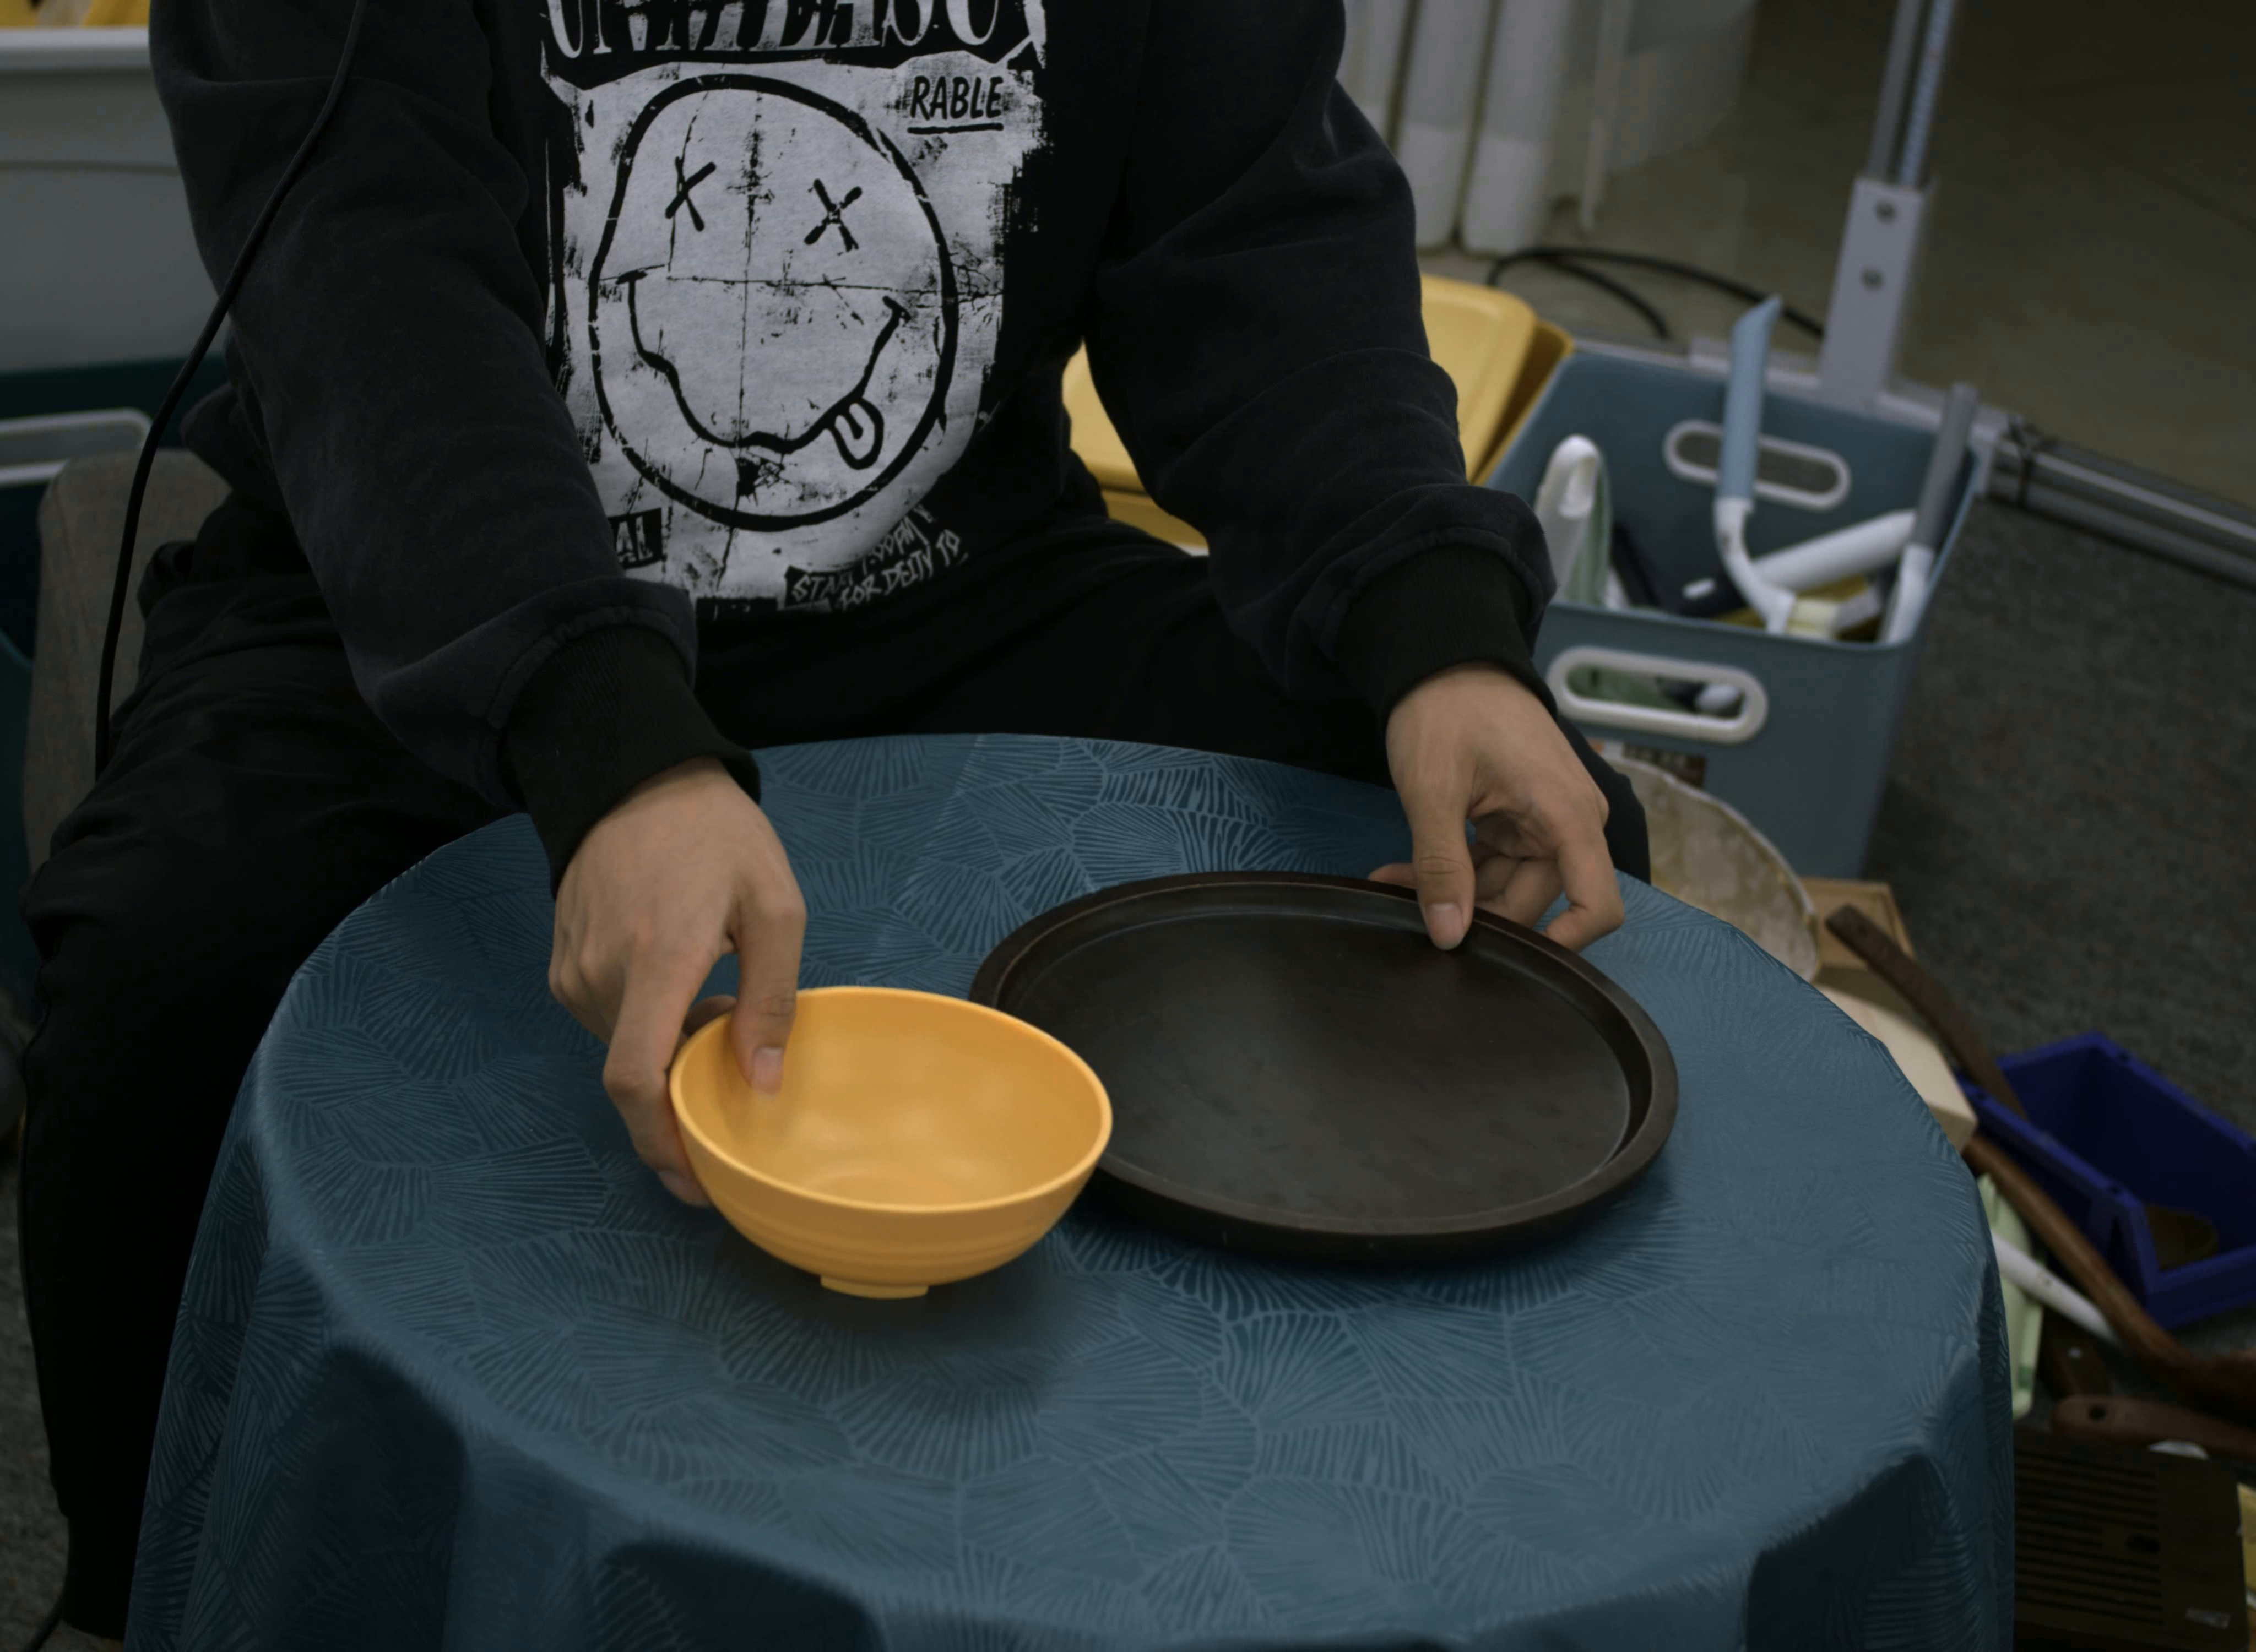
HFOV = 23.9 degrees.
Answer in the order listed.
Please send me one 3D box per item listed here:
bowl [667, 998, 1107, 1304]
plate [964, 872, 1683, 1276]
[{"bbox_3d":[-0.082,0.114,1.738,0.145,0.060,0.146,6,24,-3],"label":"bowl"},{"bbox_3d":[0.068,0.085,1.866,0.254,0.029,0.256,3,27,-2],"label":"plate"}]
